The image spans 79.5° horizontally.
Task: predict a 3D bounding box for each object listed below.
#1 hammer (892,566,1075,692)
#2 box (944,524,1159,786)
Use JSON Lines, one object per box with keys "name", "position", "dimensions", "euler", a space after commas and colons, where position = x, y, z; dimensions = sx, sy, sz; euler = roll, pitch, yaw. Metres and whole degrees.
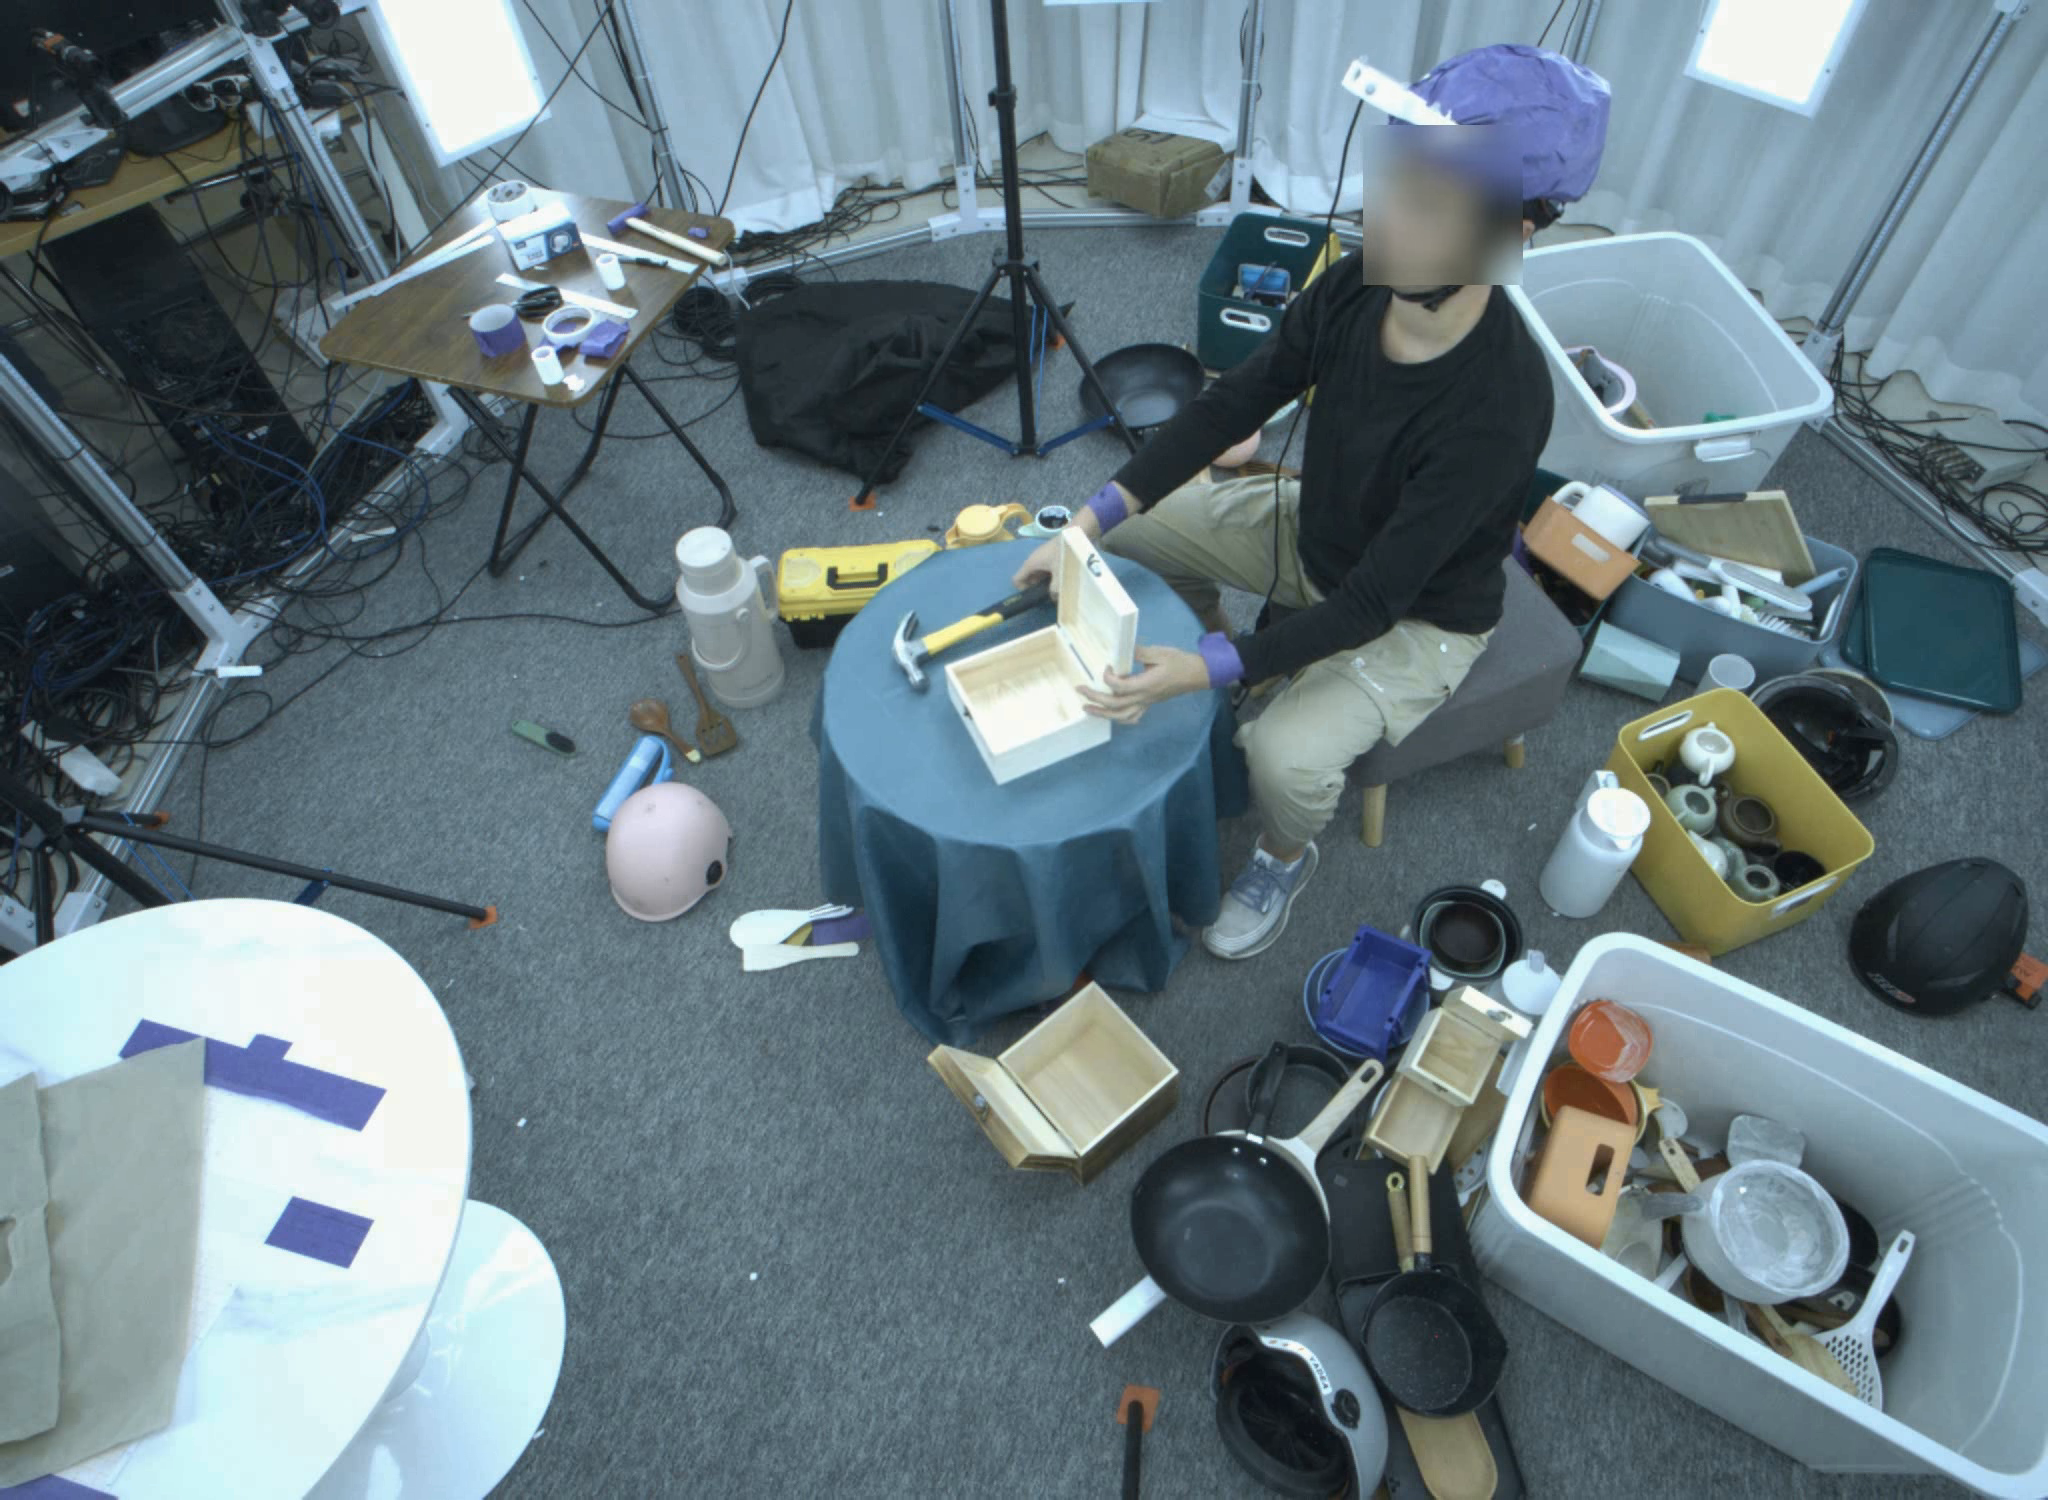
{"name": "hammer", "position": [-0.045, -0.209, 1.888], "dimensions": [0.339, 0.033, 0.129], "euler": [-25, 56, -5]}
{"name": "box", "position": [0.029, -0.132, 1.723], "dimensions": [0.267, 0.256, 0.178], "euler": [-23, 54, -13]}
